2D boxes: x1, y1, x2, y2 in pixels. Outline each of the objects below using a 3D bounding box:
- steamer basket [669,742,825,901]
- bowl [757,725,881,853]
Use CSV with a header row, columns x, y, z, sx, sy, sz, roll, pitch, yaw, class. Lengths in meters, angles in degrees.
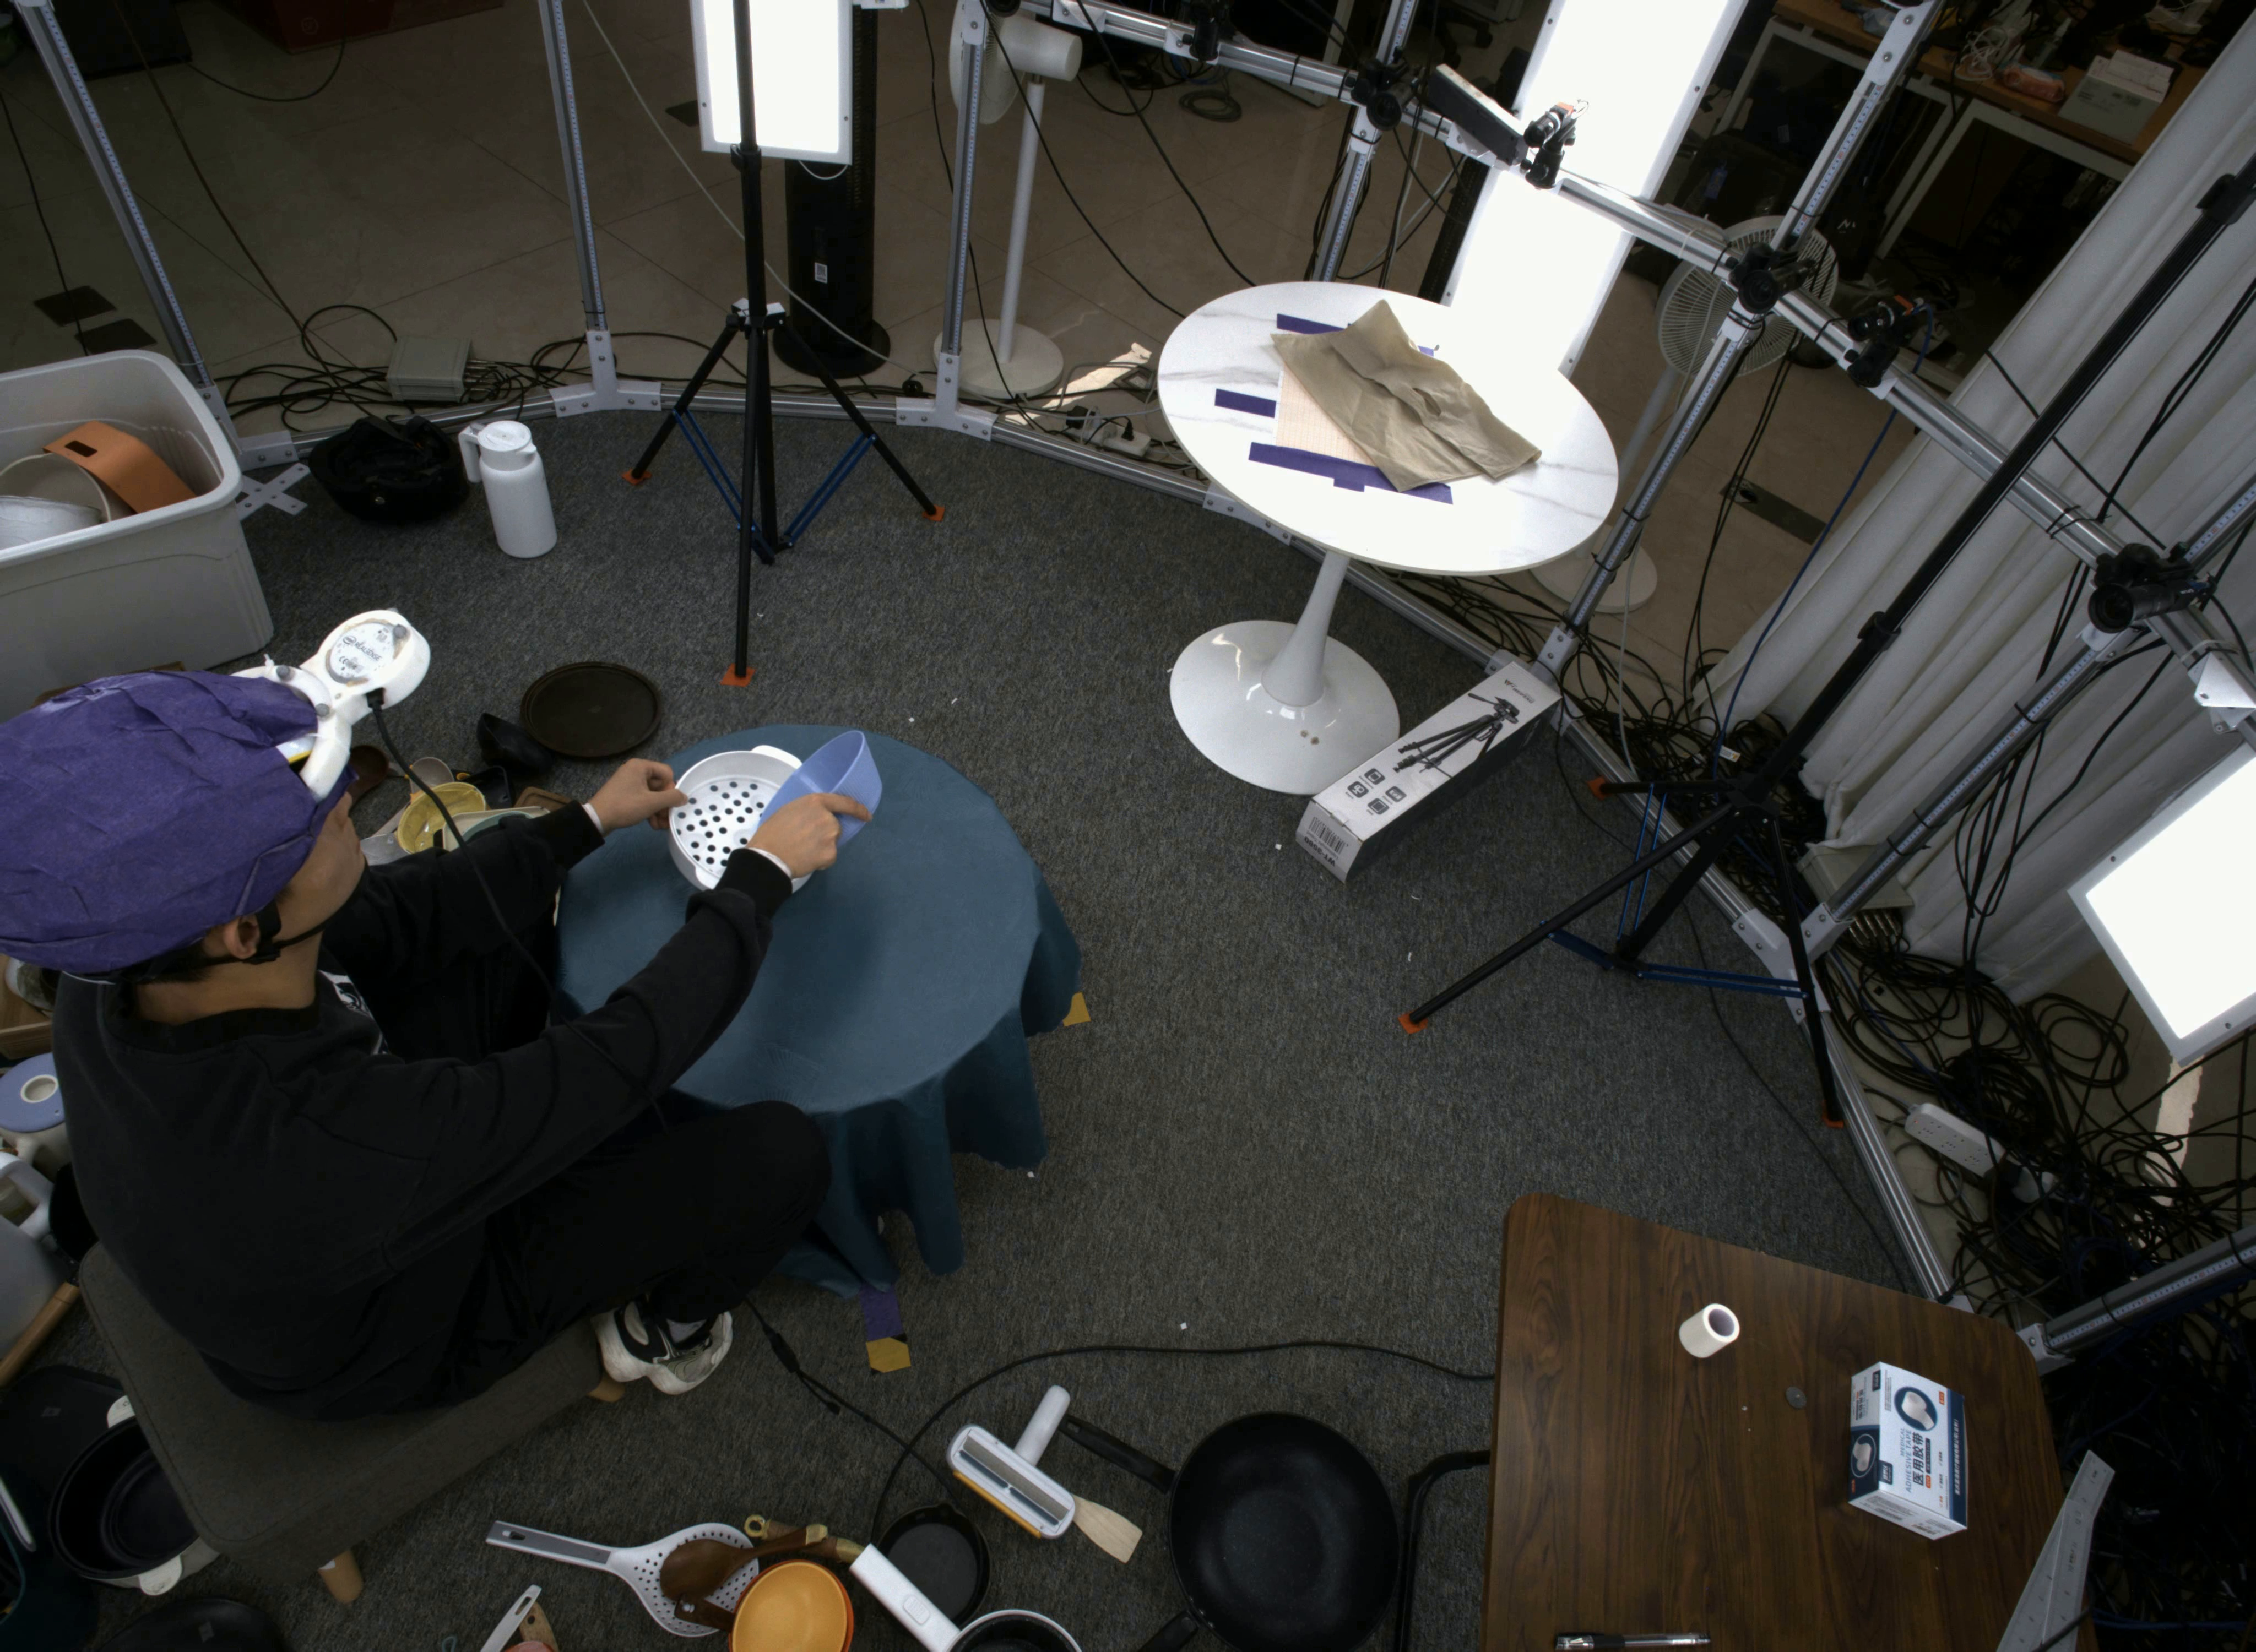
x,y,z,sx,sy,sz,roll,pitch,yaw,class
-0.483,-0.002,1.648,0.204,0.069,0.227,23,50,-15,steamer basket
-0.361,-0.034,1.560,0.072,0.172,0.174,46,44,-27,bowl
